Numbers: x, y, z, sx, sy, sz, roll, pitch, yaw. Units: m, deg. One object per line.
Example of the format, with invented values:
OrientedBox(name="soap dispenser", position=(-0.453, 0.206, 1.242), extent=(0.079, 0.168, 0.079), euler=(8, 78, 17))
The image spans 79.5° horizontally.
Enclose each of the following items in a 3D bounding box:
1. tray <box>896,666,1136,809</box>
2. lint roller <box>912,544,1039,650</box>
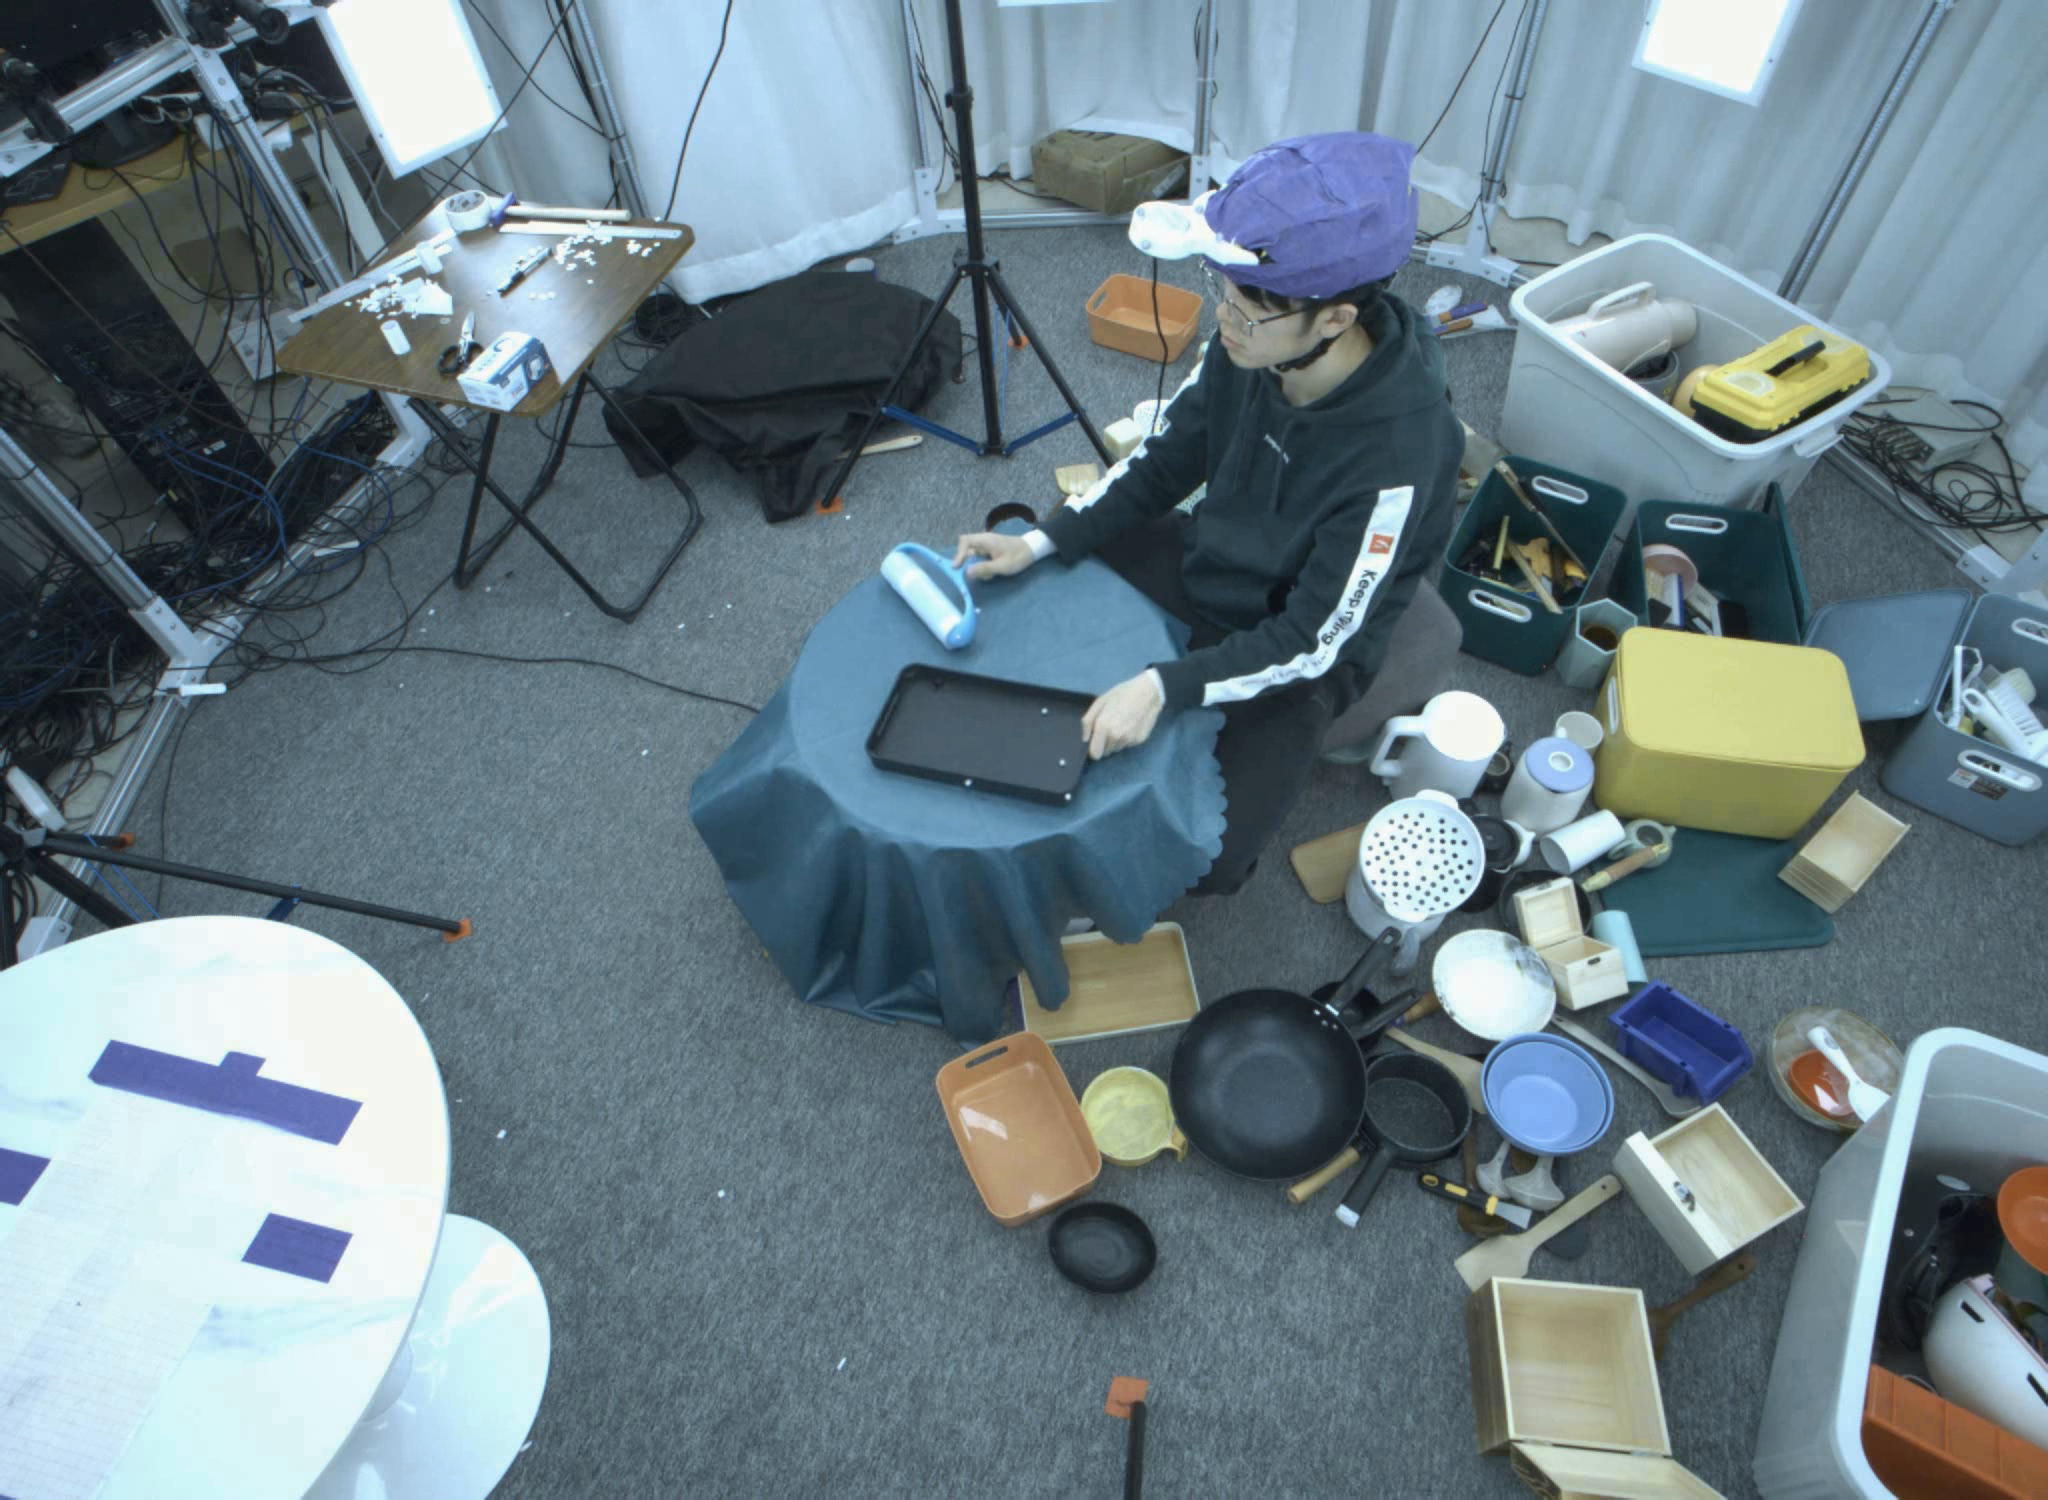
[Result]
OrientedBox(name="tray", position=(-0.010, -0.021, 1.769), extent=(0.314, 0.037, 0.184), euler=(11, 55, 14))
OrientedBox(name="lint roller", position=(-0.058, -0.268, 1.936), extent=(0.181, 0.069, 0.224), euler=(-33, 58, -15))
